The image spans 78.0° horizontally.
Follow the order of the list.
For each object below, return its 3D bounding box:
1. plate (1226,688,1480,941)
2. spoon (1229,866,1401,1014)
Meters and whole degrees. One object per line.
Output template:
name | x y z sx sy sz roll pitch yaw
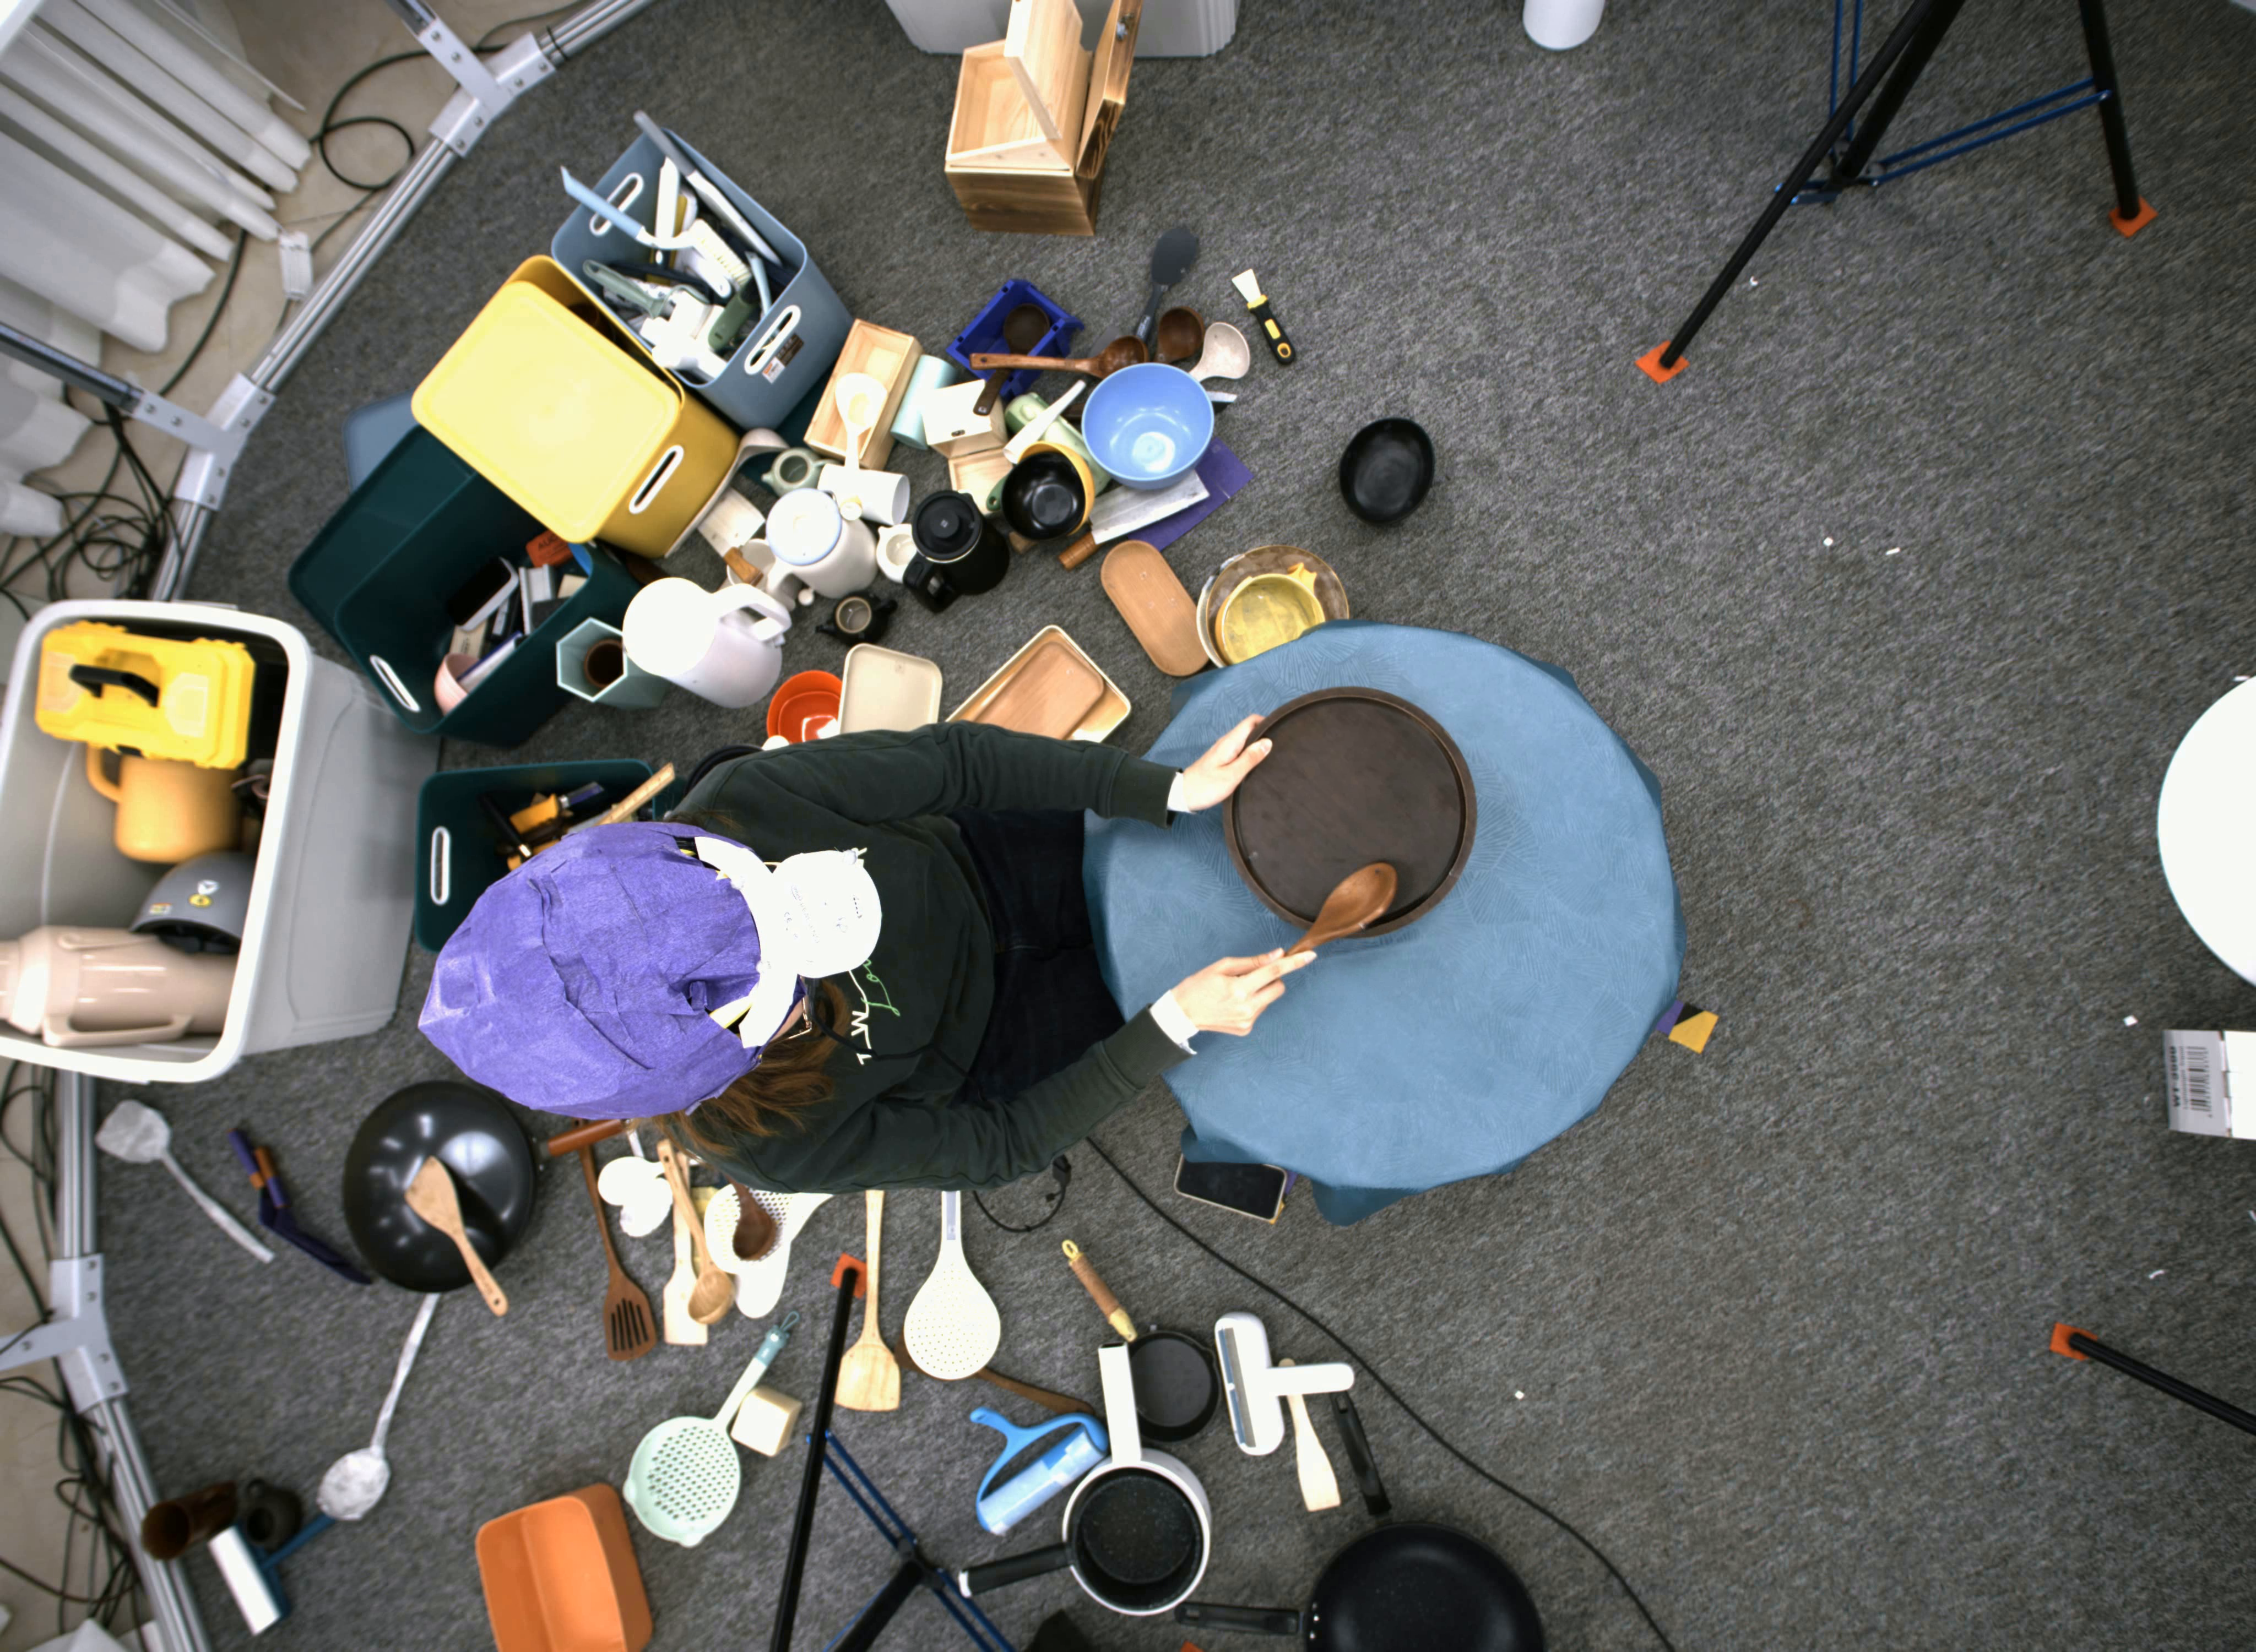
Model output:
plate | 0.223 -0.012 1.383 0.256 0.029 0.256 1 97 14
spoon | 0.185 0.116 1.375 0.218 0.074 0.017 -40 121 13
